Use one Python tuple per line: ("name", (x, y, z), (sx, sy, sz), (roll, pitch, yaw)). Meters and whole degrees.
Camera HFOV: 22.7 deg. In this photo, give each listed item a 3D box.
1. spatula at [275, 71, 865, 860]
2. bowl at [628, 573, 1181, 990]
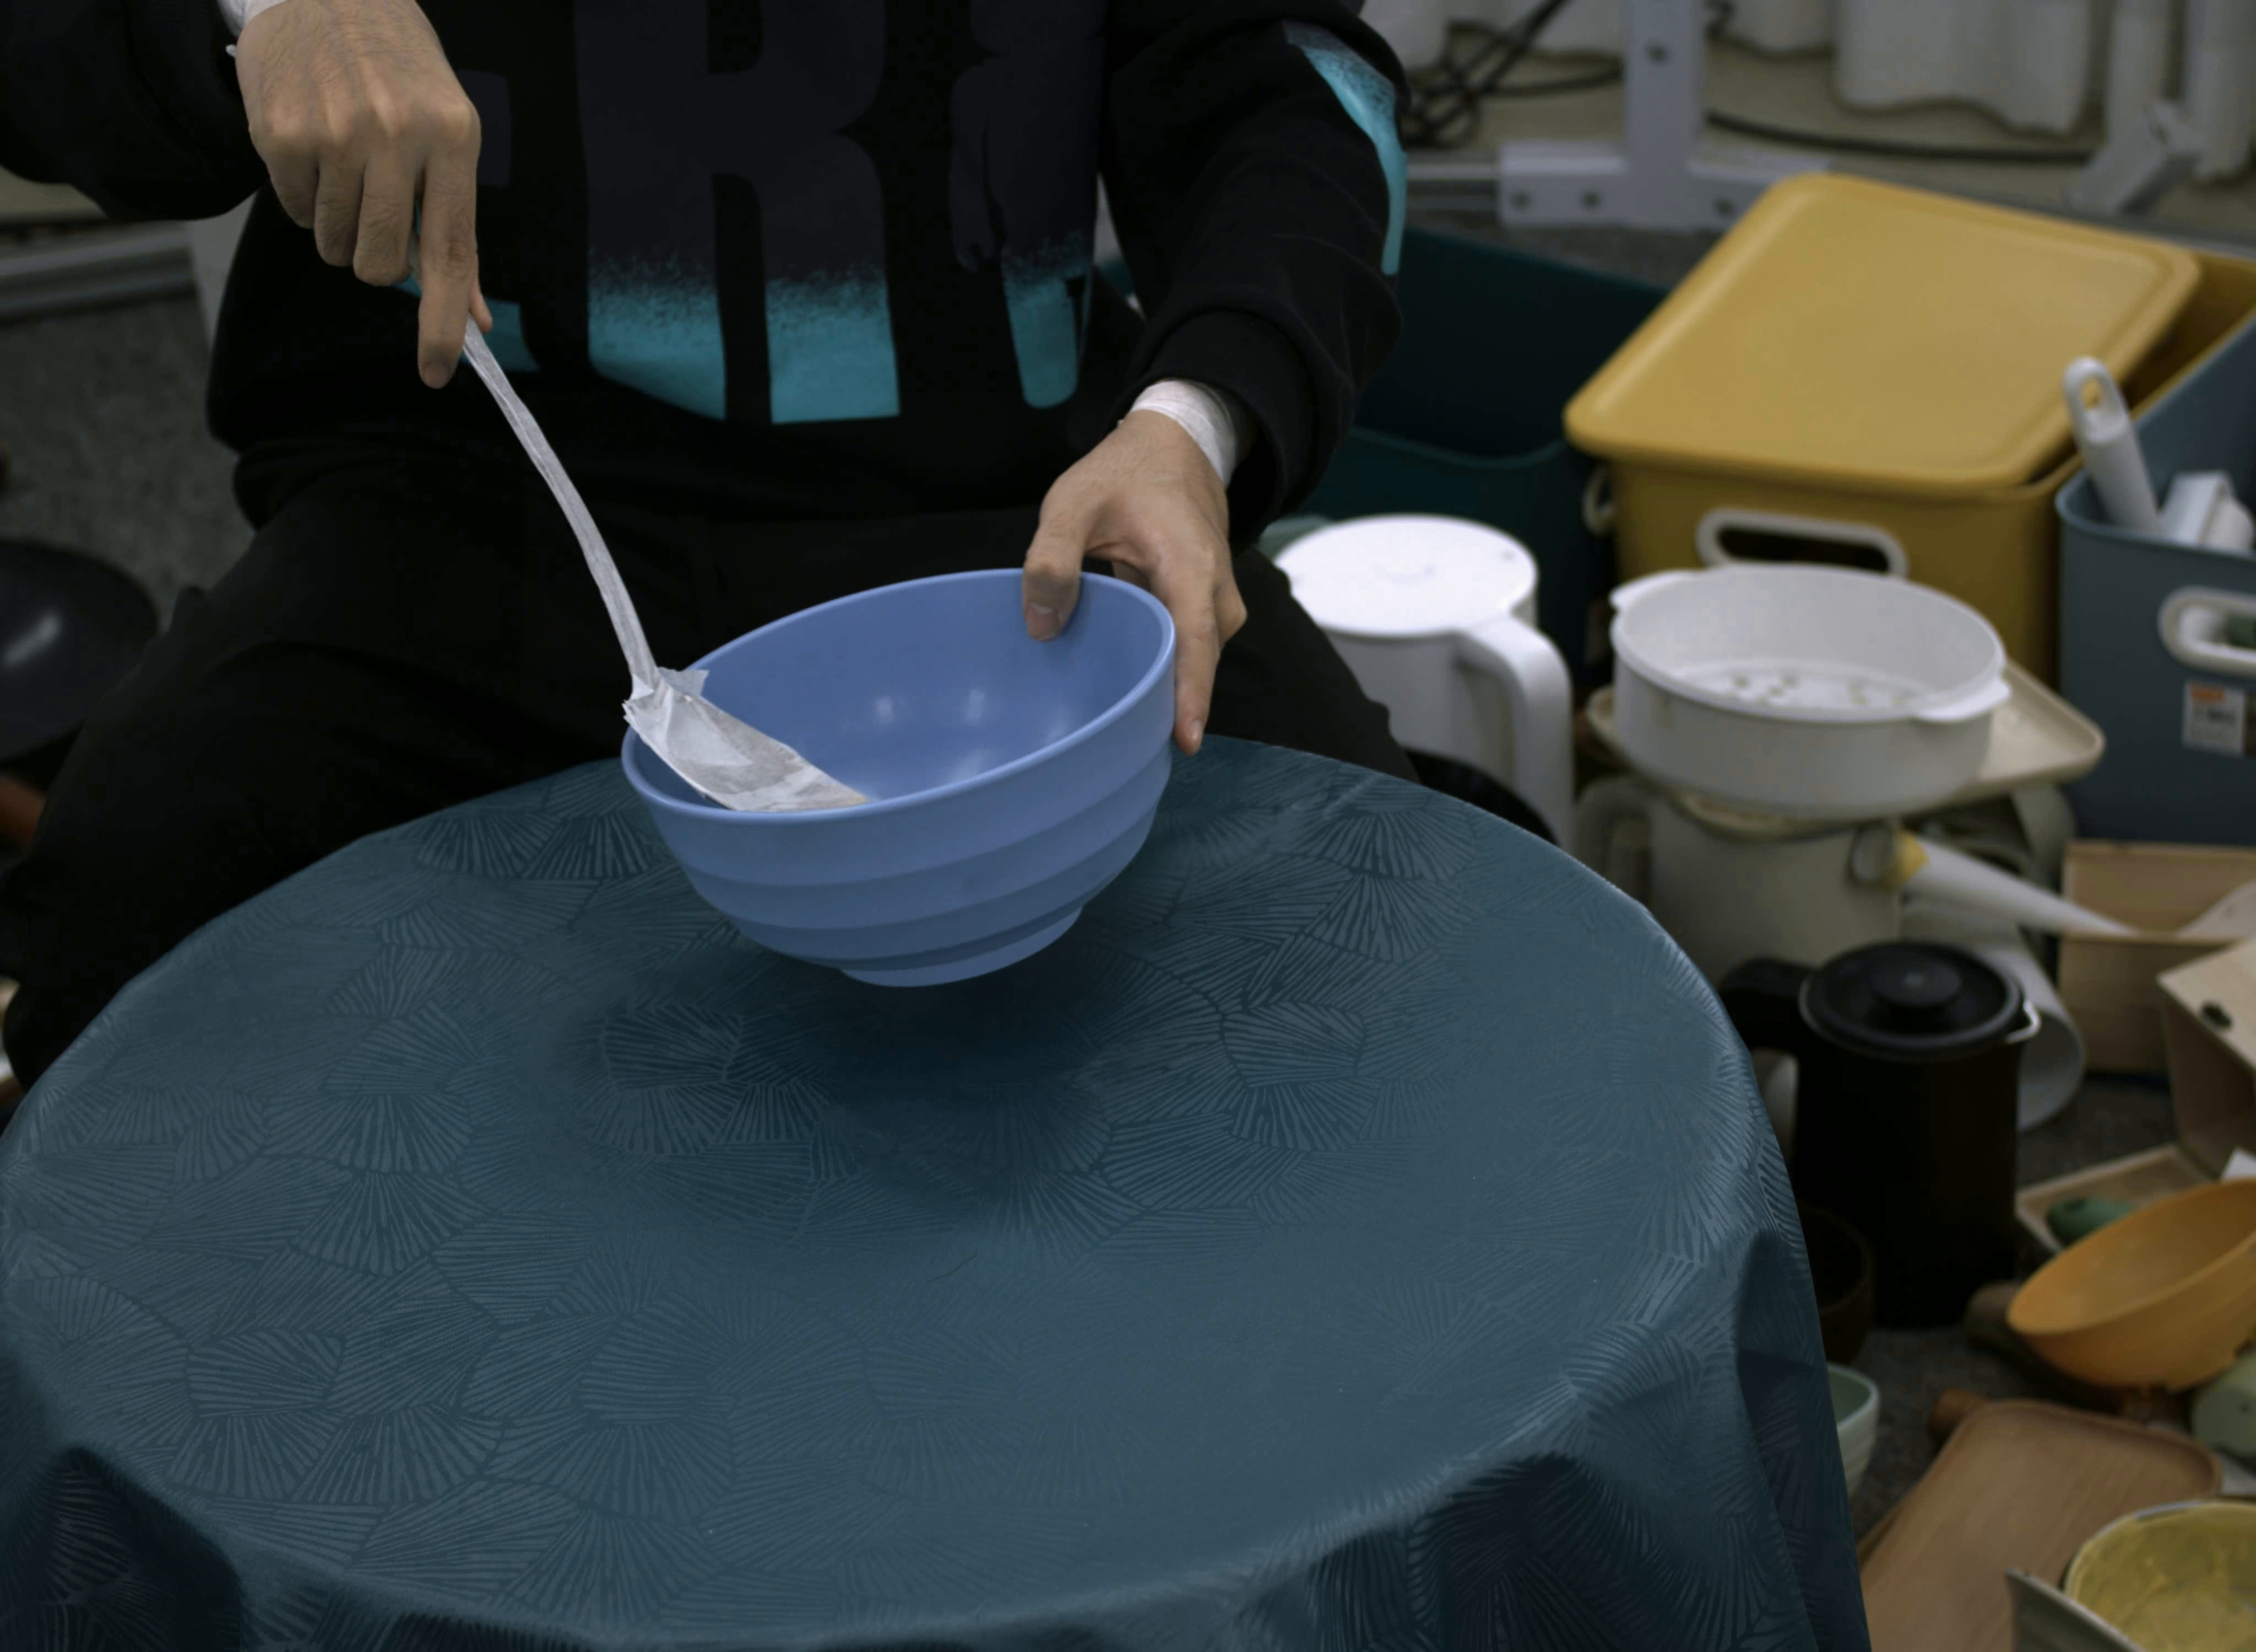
("spatula", (-0.195, -0.126, 1.947), (0.044, 0.367, 0.099), (-37, -13, 22))
("bowl", (-0.067, -0.006, 1.951), (0.195, 0.095, 0.199), (-12, 22, 5))
